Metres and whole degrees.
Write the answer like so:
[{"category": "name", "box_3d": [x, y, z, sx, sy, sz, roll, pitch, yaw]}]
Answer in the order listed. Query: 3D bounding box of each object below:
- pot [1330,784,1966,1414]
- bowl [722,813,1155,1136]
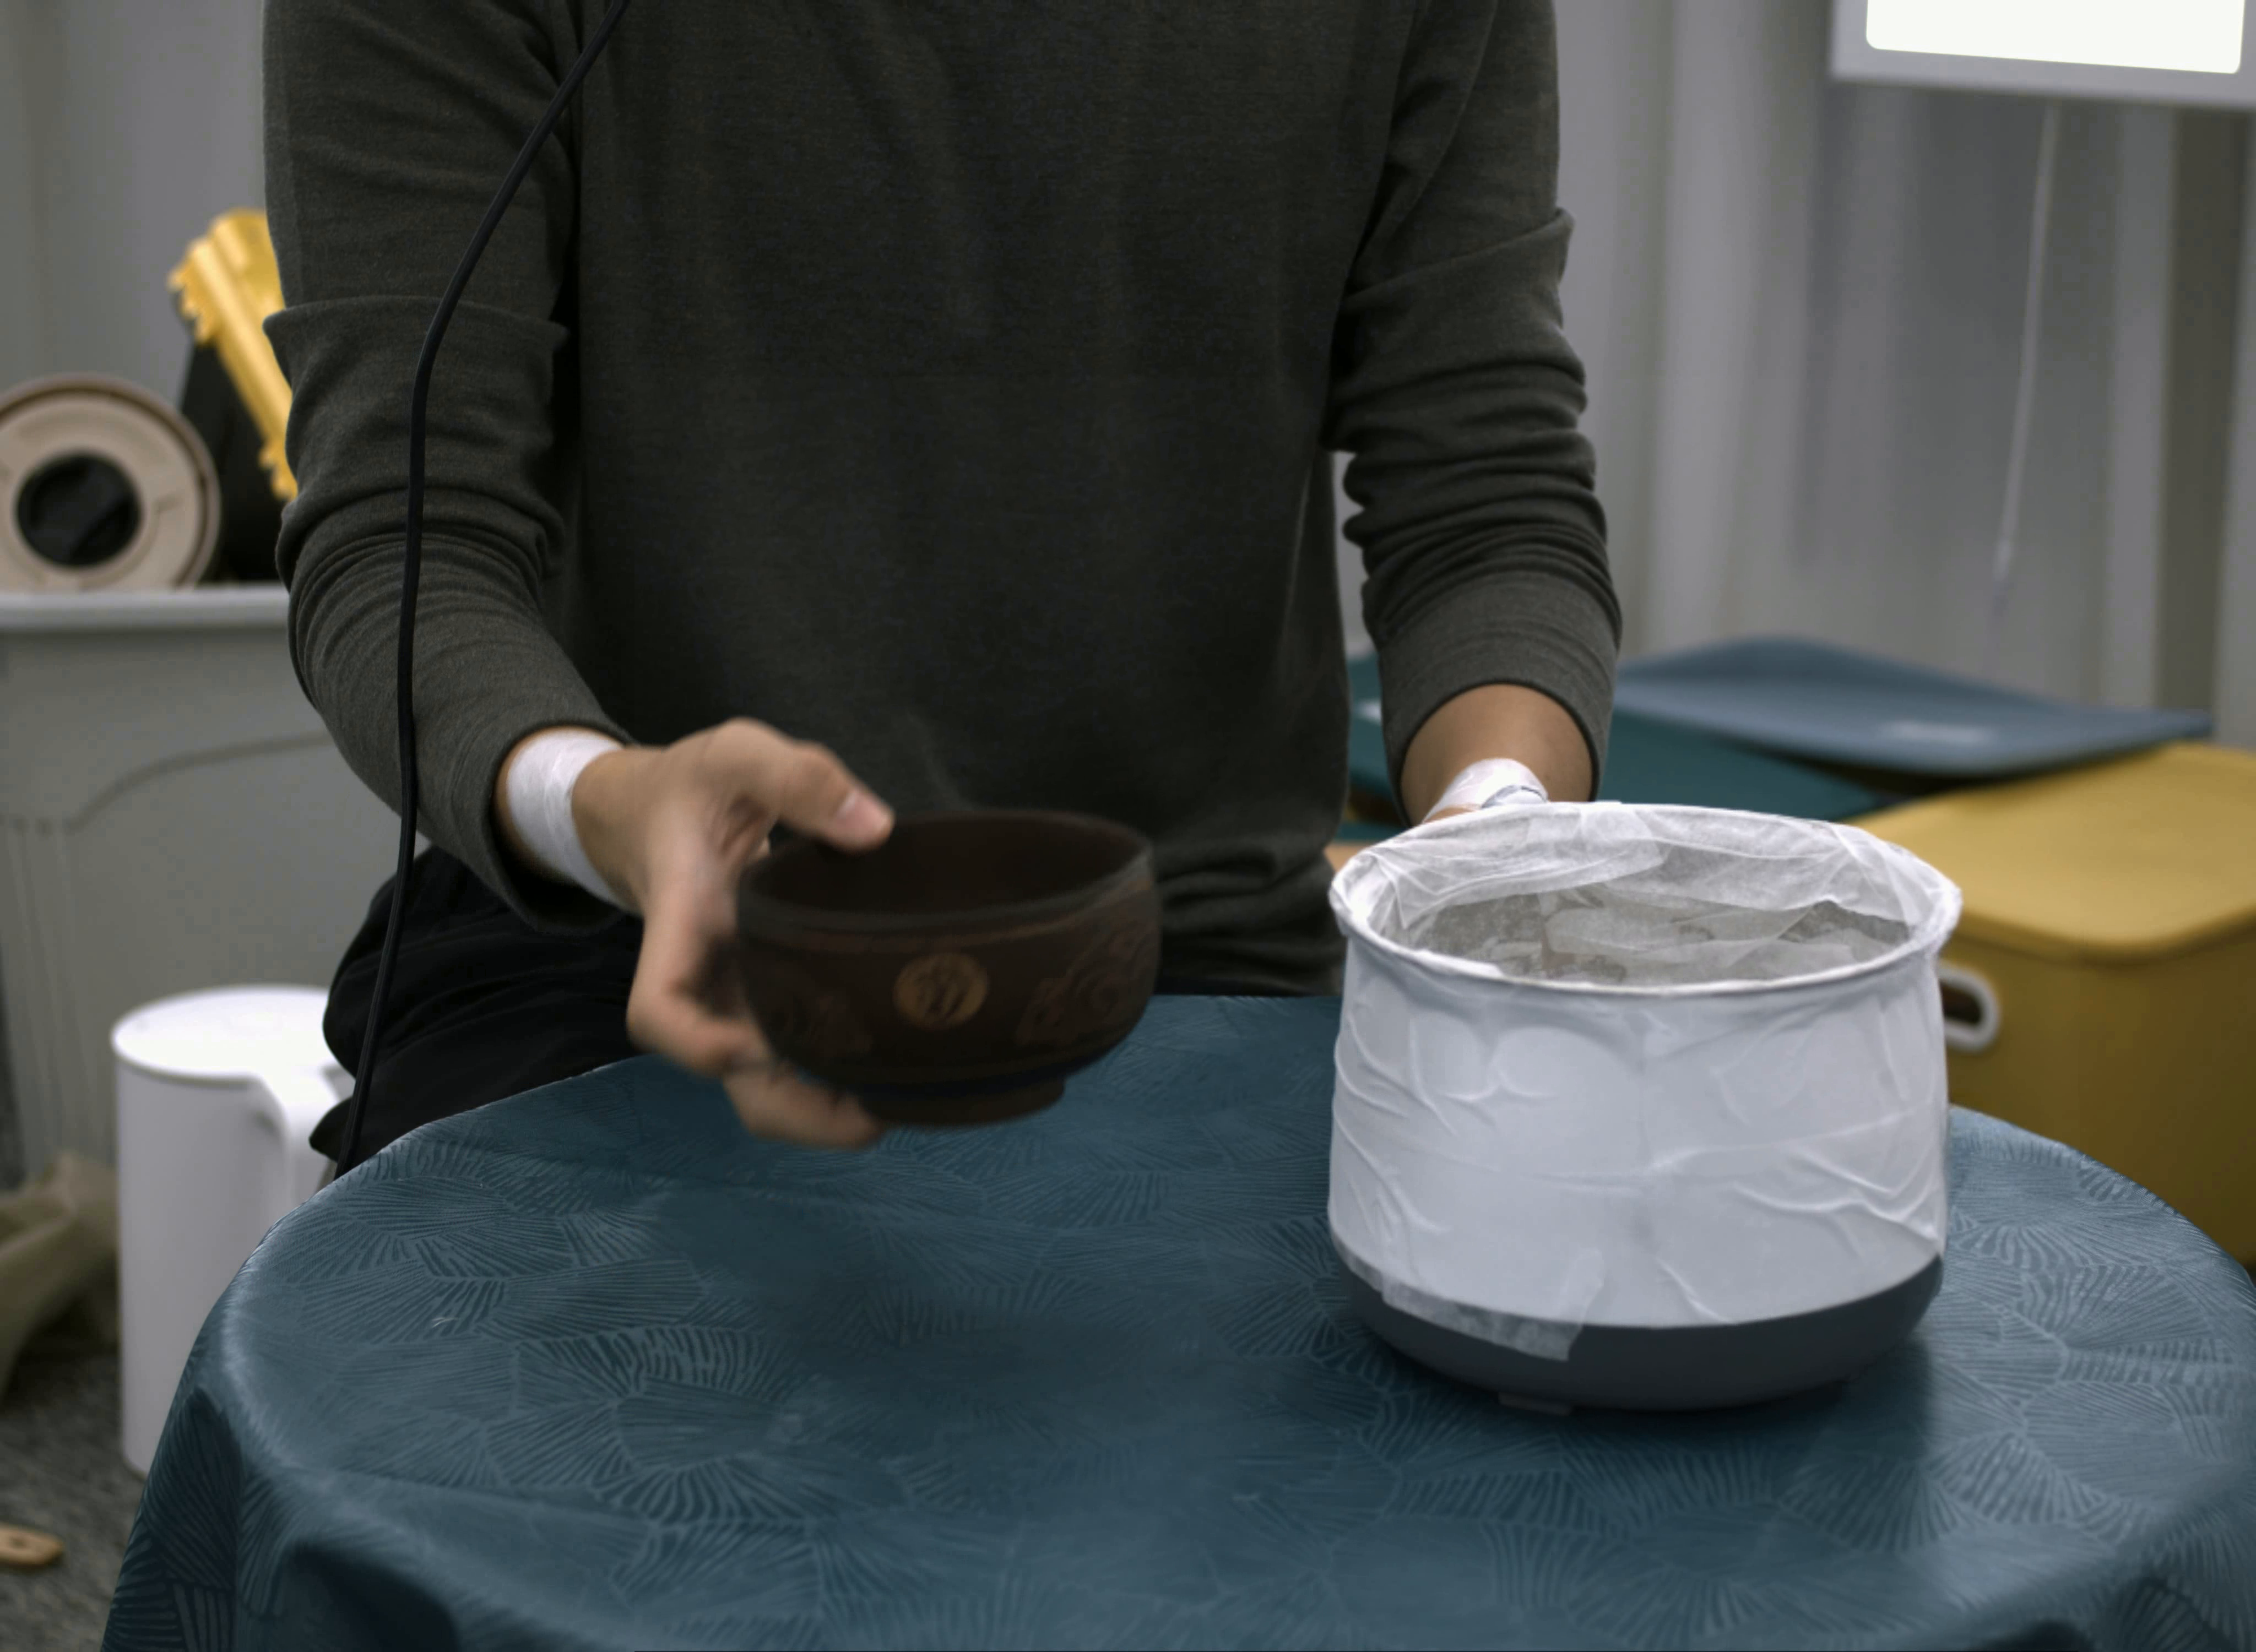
[{"category": "pot", "box_3d": [0.137, 0.072, 1.514, 0.179, 0.138, 0.231, -5, 17, -17]}, {"category": "bowl", "box_3d": [-0.050, 0.044, 1.442, 0.117, 0.070, 0.117, -6, 13, 2]}]
